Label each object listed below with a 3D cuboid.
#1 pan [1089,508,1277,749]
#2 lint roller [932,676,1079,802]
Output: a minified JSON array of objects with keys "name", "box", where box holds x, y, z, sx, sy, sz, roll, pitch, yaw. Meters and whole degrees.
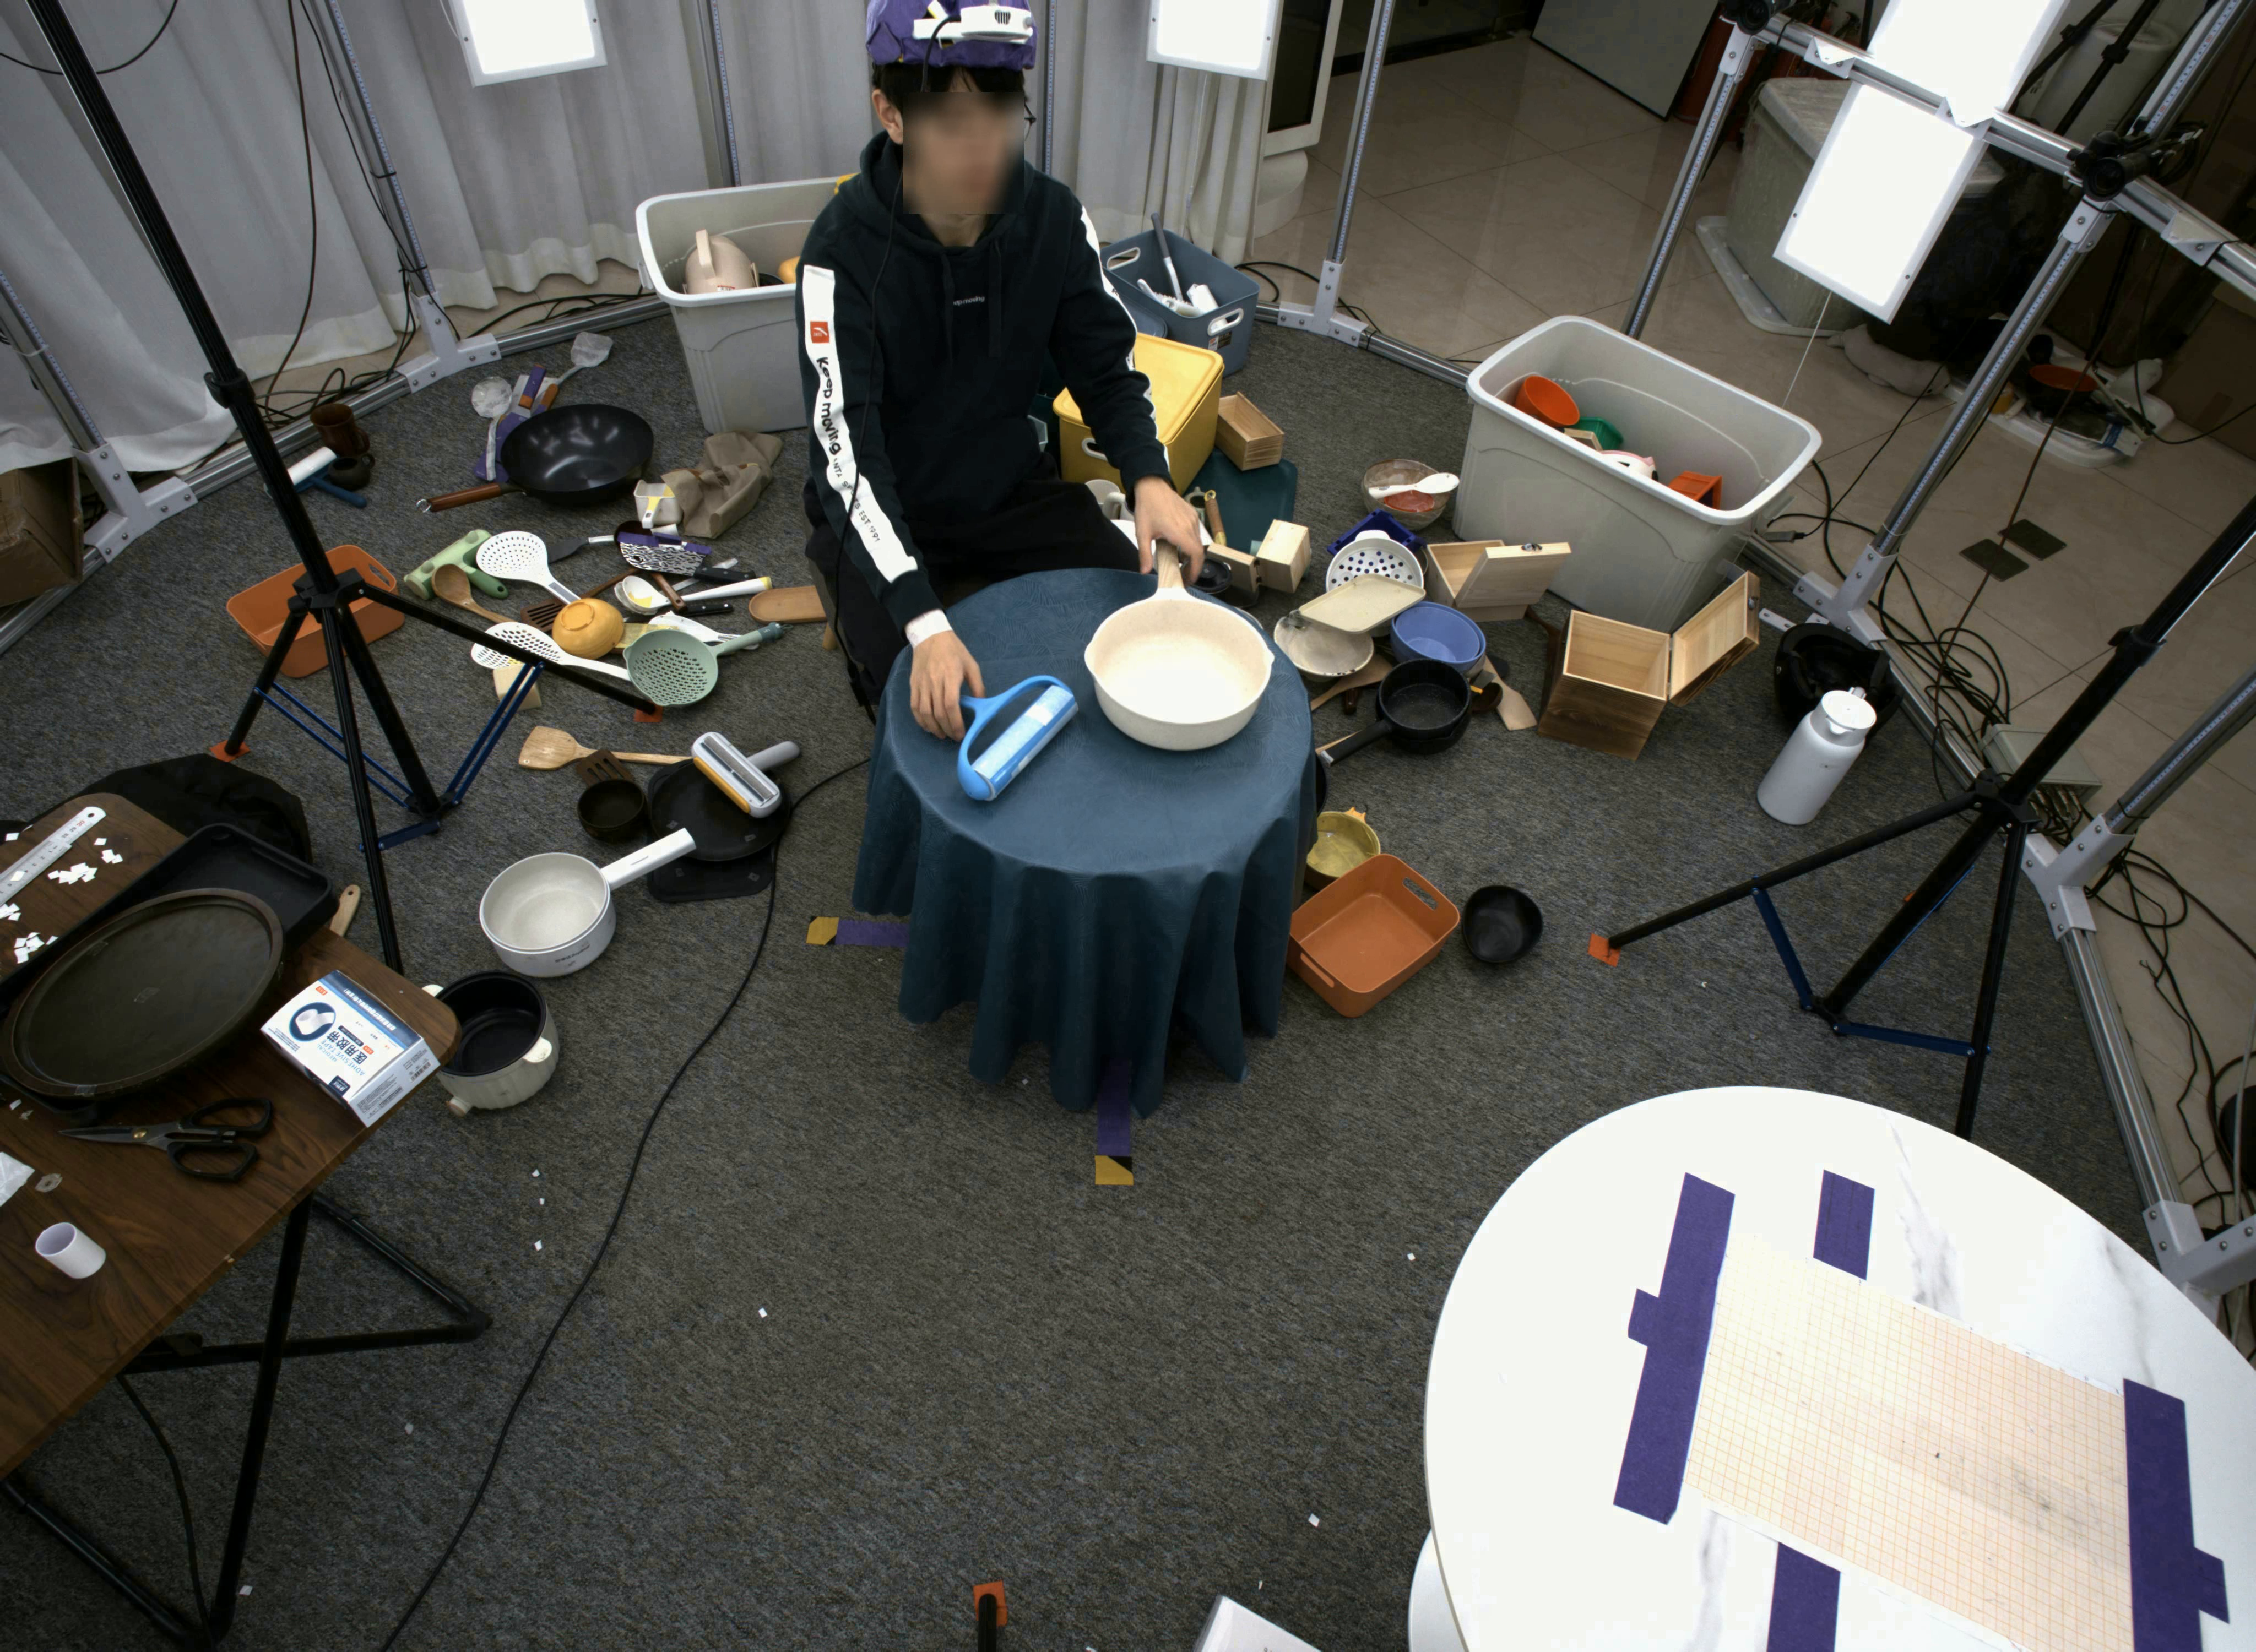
[{"name":"pan","box":[0.067,-0.285,1.855,0.263,0.099,0.446,-3,49,-4]},{"name":"lint roller","box":[-0.192,-0.139,1.739,0.182,0.066,0.232,25,54,17]}]
